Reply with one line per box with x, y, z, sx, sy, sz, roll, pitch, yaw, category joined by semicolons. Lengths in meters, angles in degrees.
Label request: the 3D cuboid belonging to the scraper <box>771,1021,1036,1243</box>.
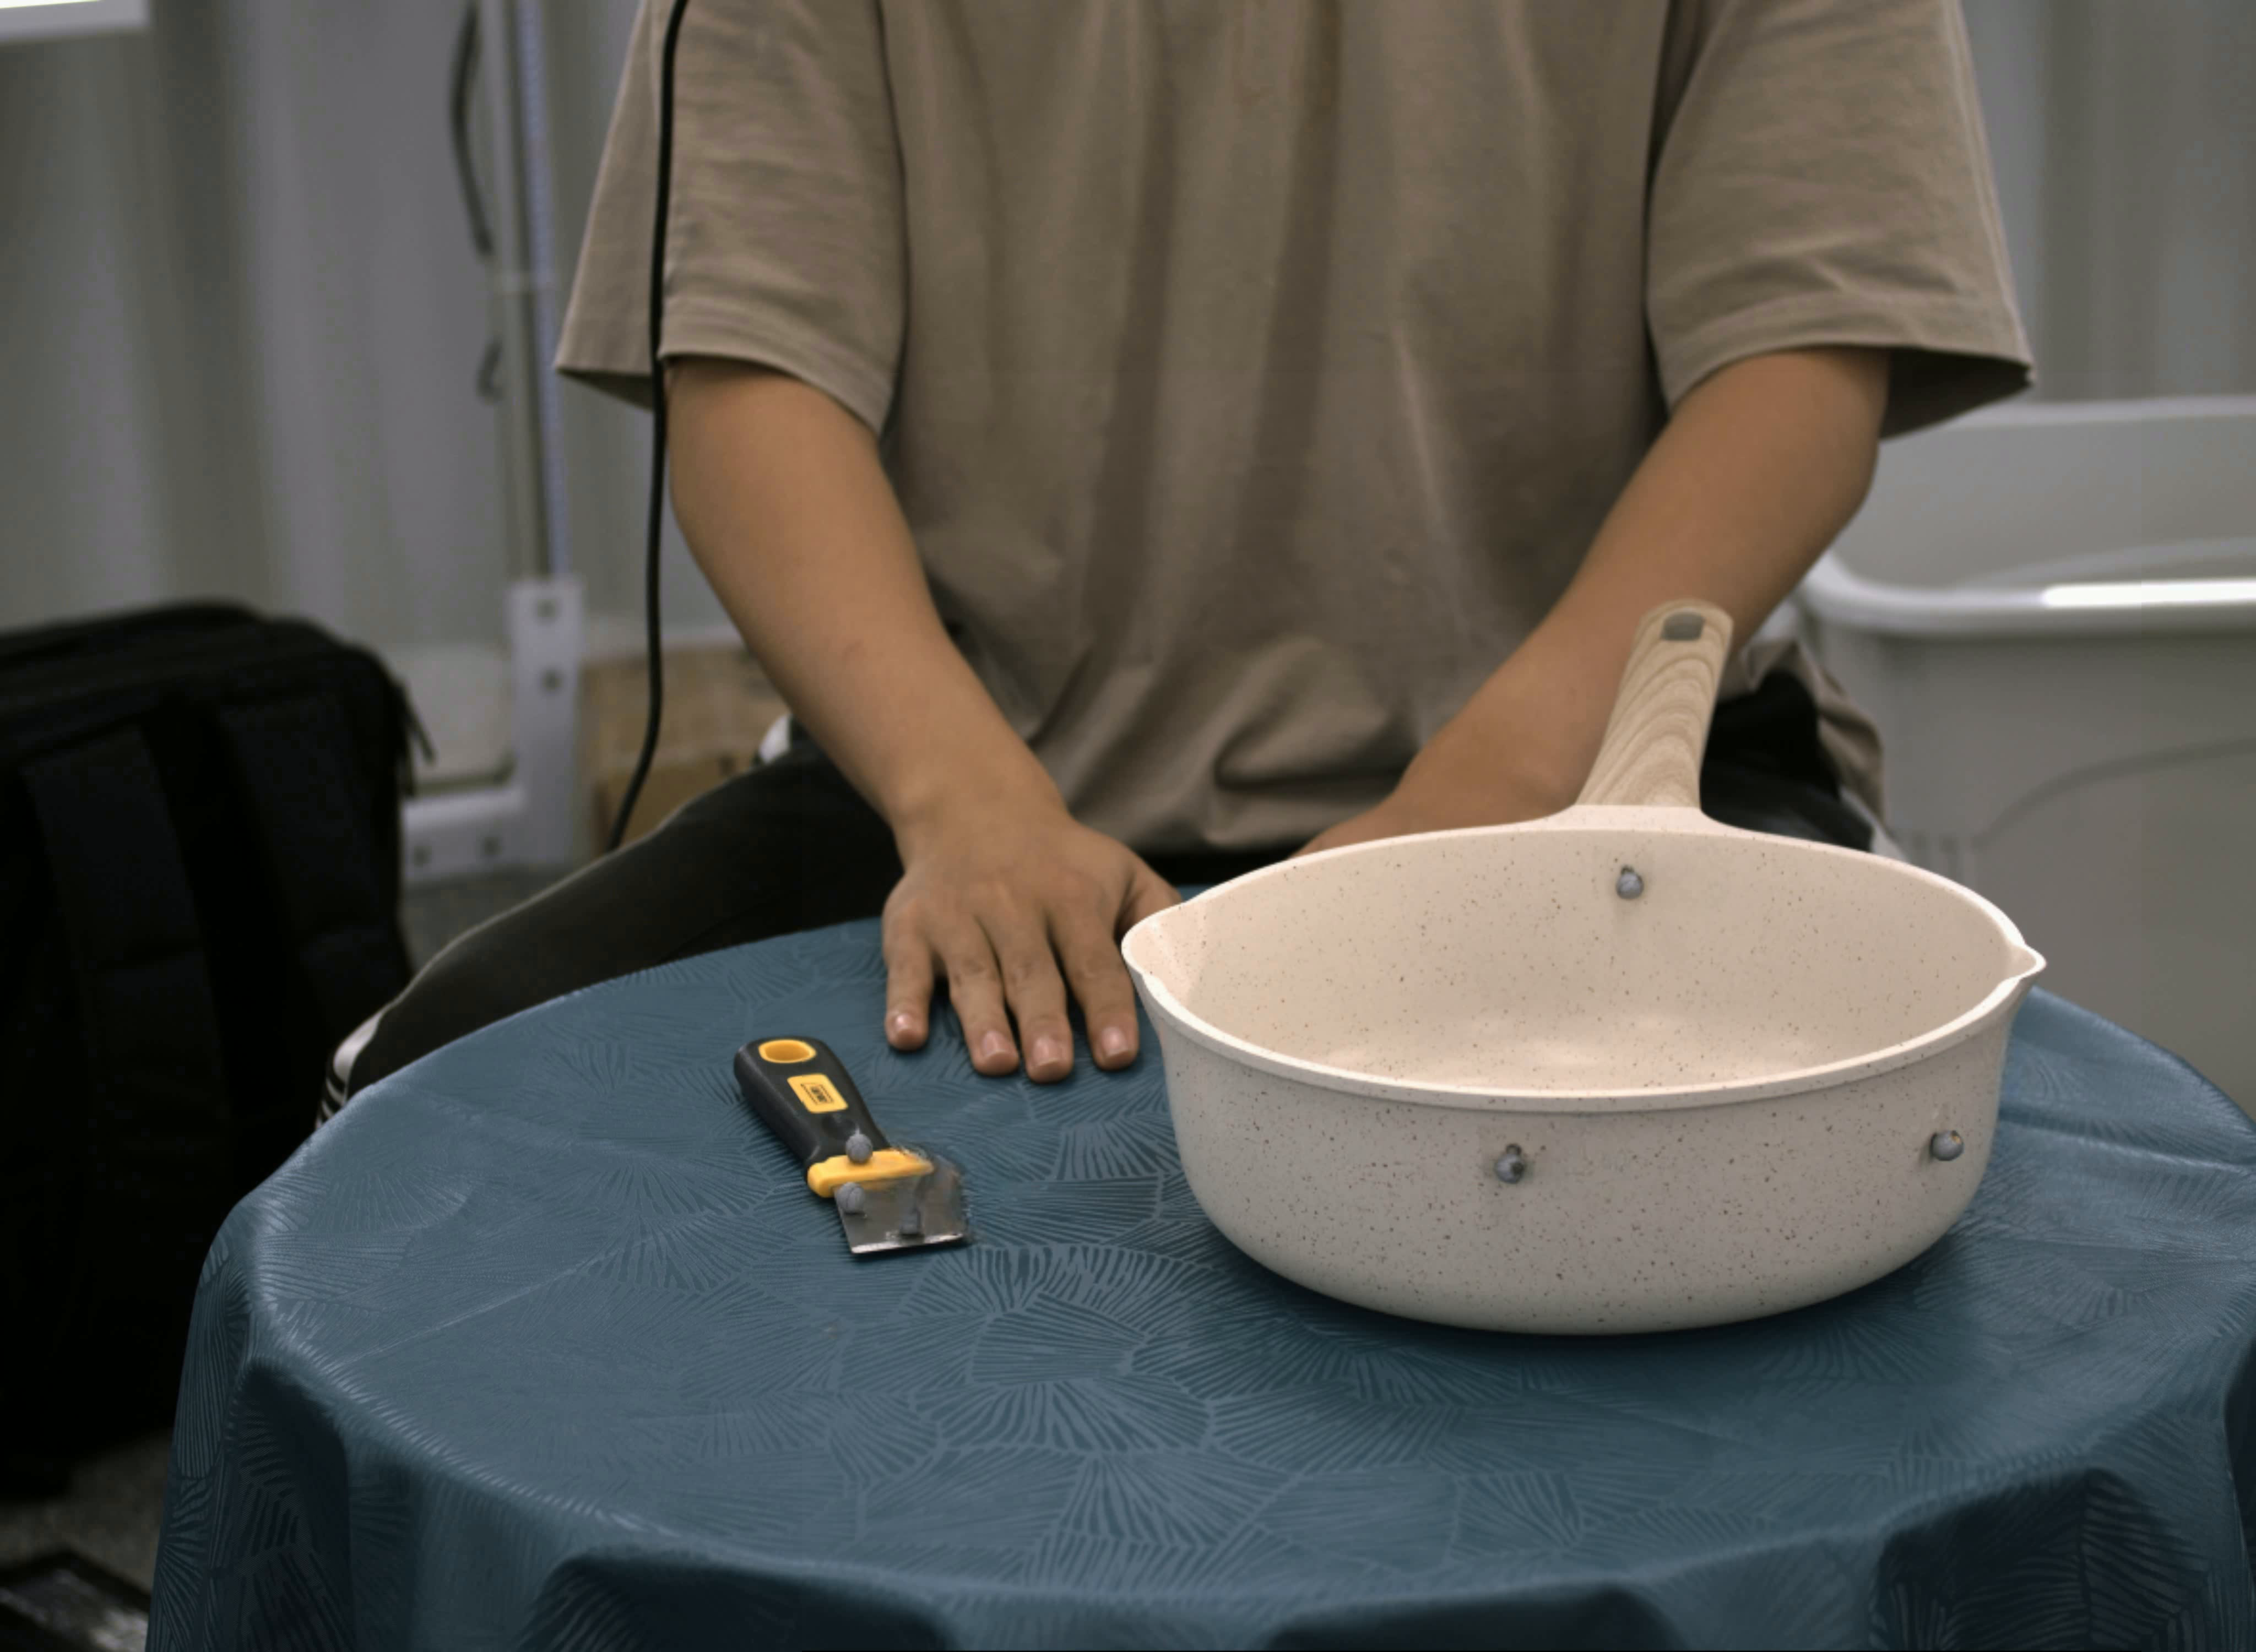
-0.072;0.091;1.586;0.038;0.015;0.174;-11;20;-17;scraper

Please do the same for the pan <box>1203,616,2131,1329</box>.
0.171;0.039;1.590;0.265;0.102;0.432;-1;16;12;pan
